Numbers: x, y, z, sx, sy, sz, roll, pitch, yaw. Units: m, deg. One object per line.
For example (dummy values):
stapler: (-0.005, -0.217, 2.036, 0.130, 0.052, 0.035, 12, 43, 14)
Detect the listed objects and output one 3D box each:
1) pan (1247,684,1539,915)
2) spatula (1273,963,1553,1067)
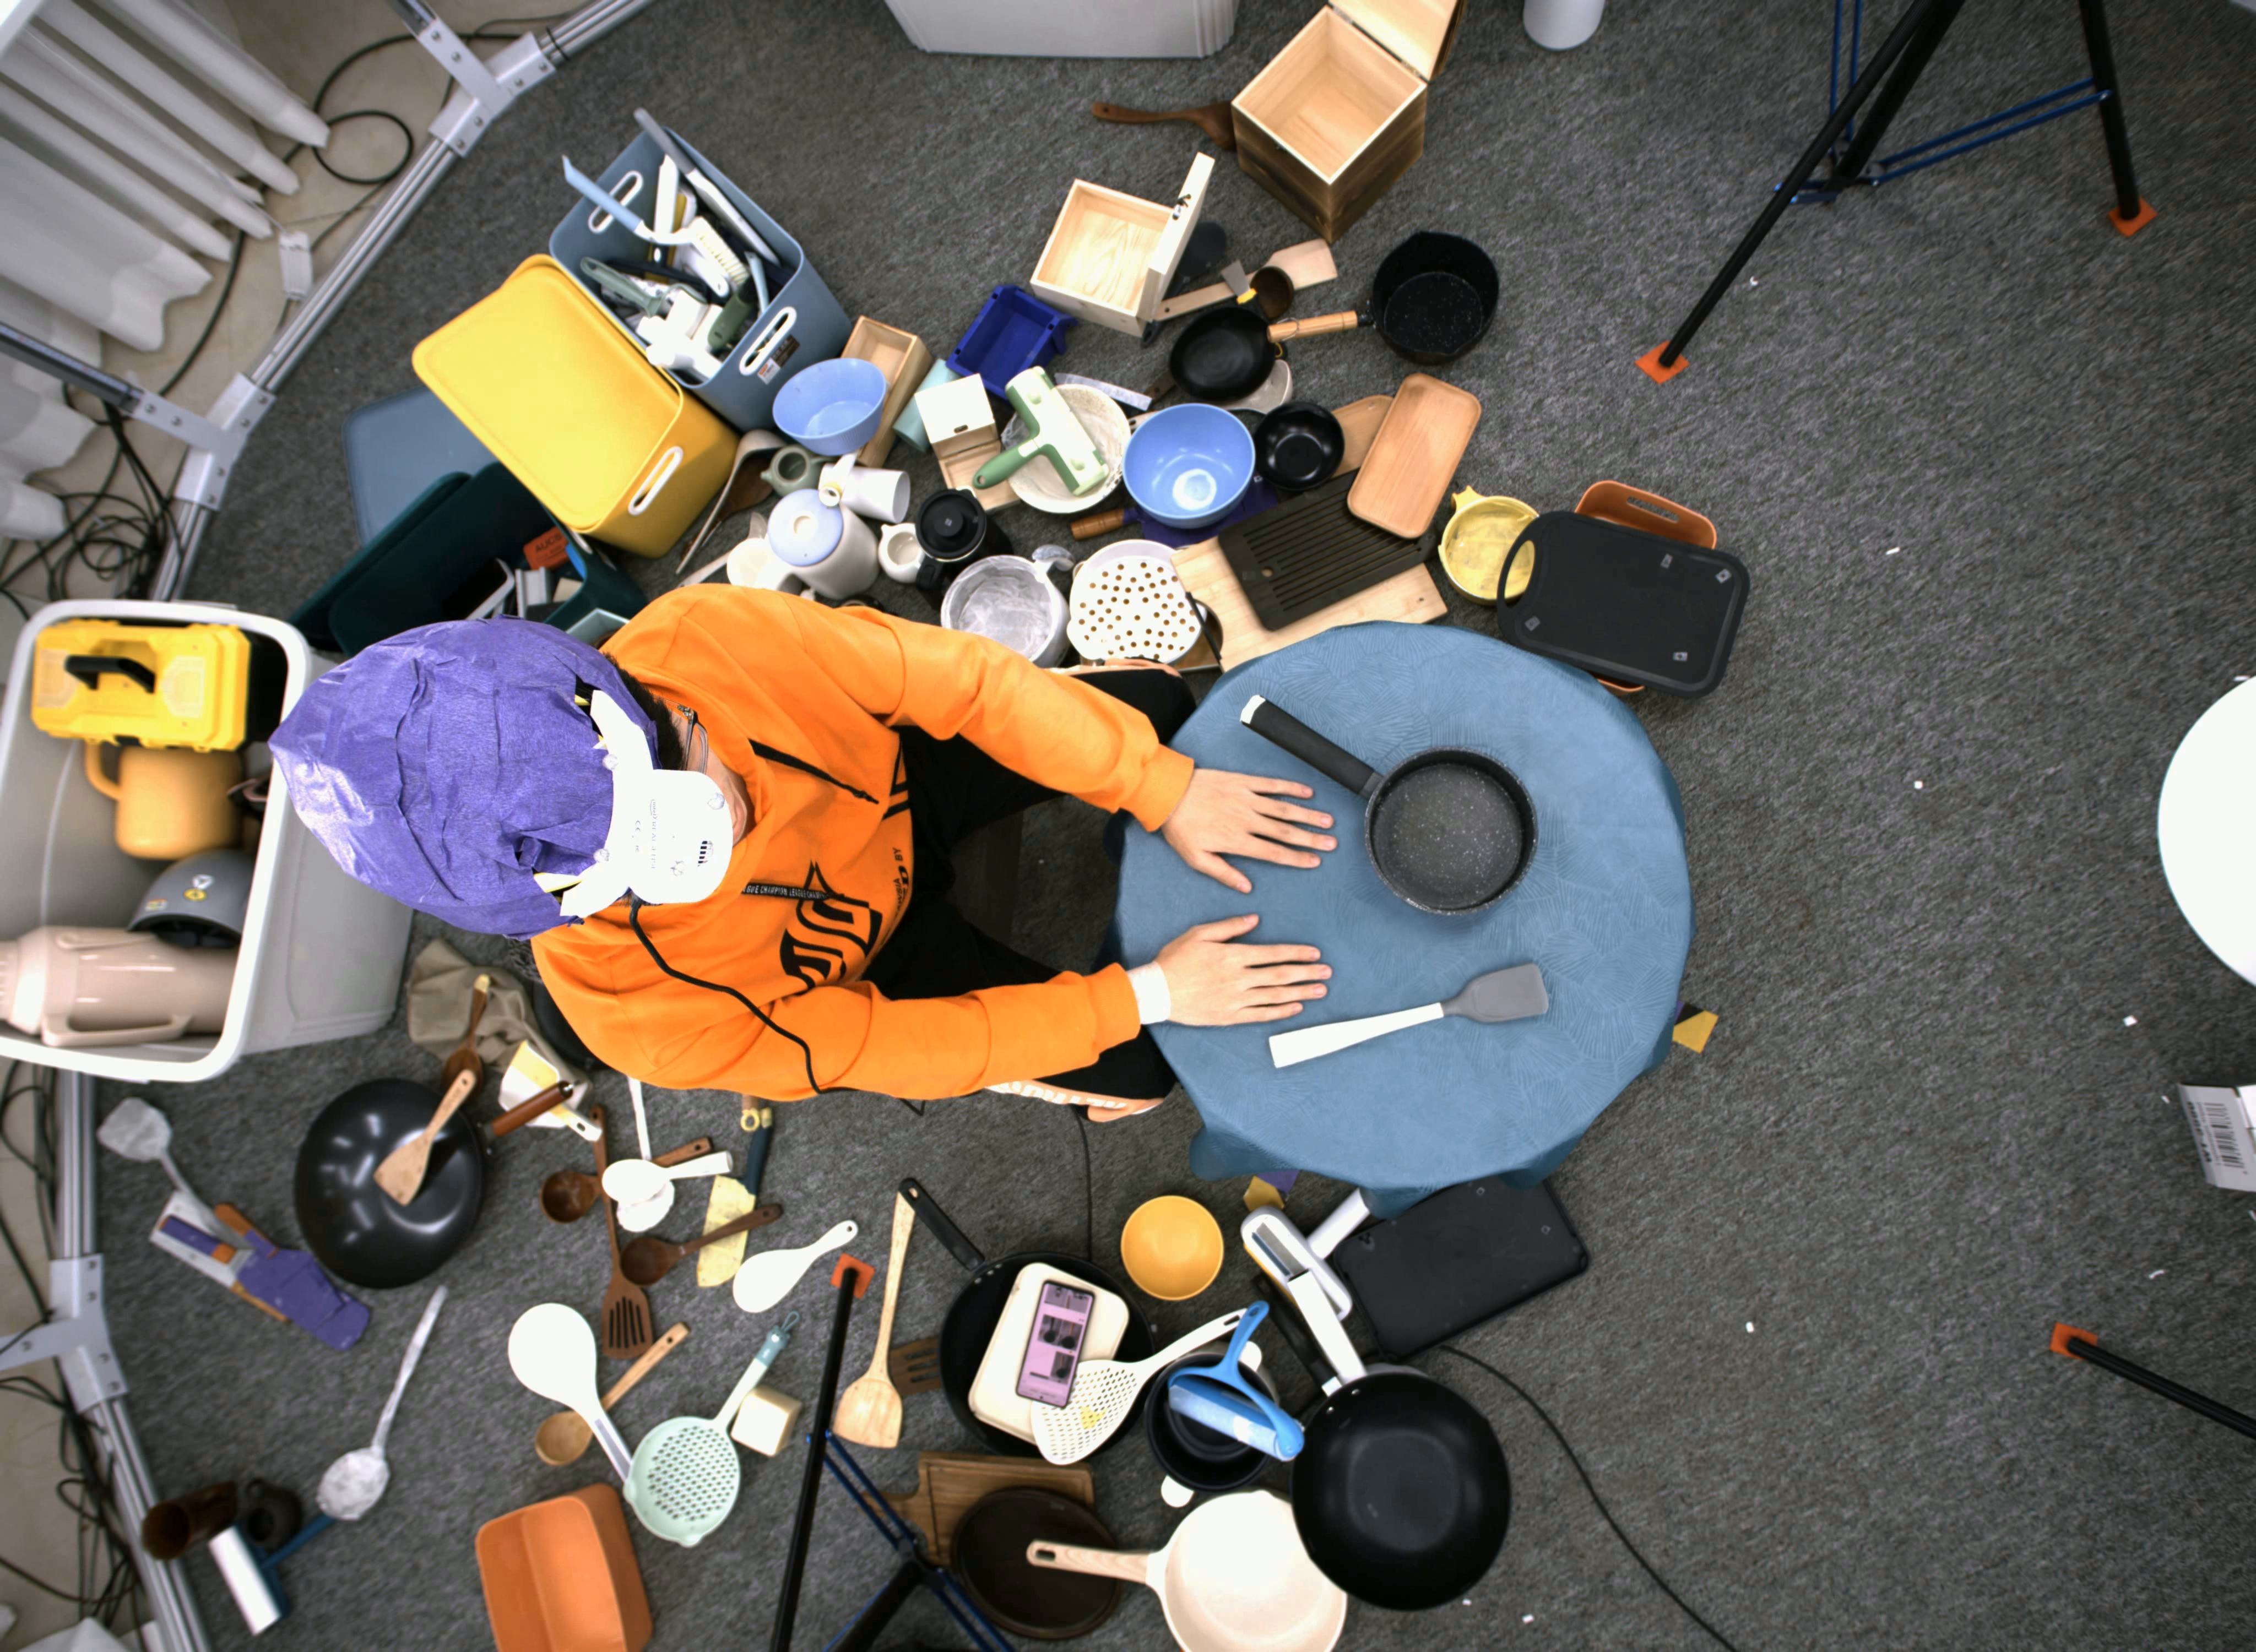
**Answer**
pan: (0.265, -0.038, 1.424, 0.328, 0.086, 0.172, 35, 92, 9)
spatula: (0.293, 0.199, 1.433, 0.289, 0.032, 0.058, -15, 80, 10)
